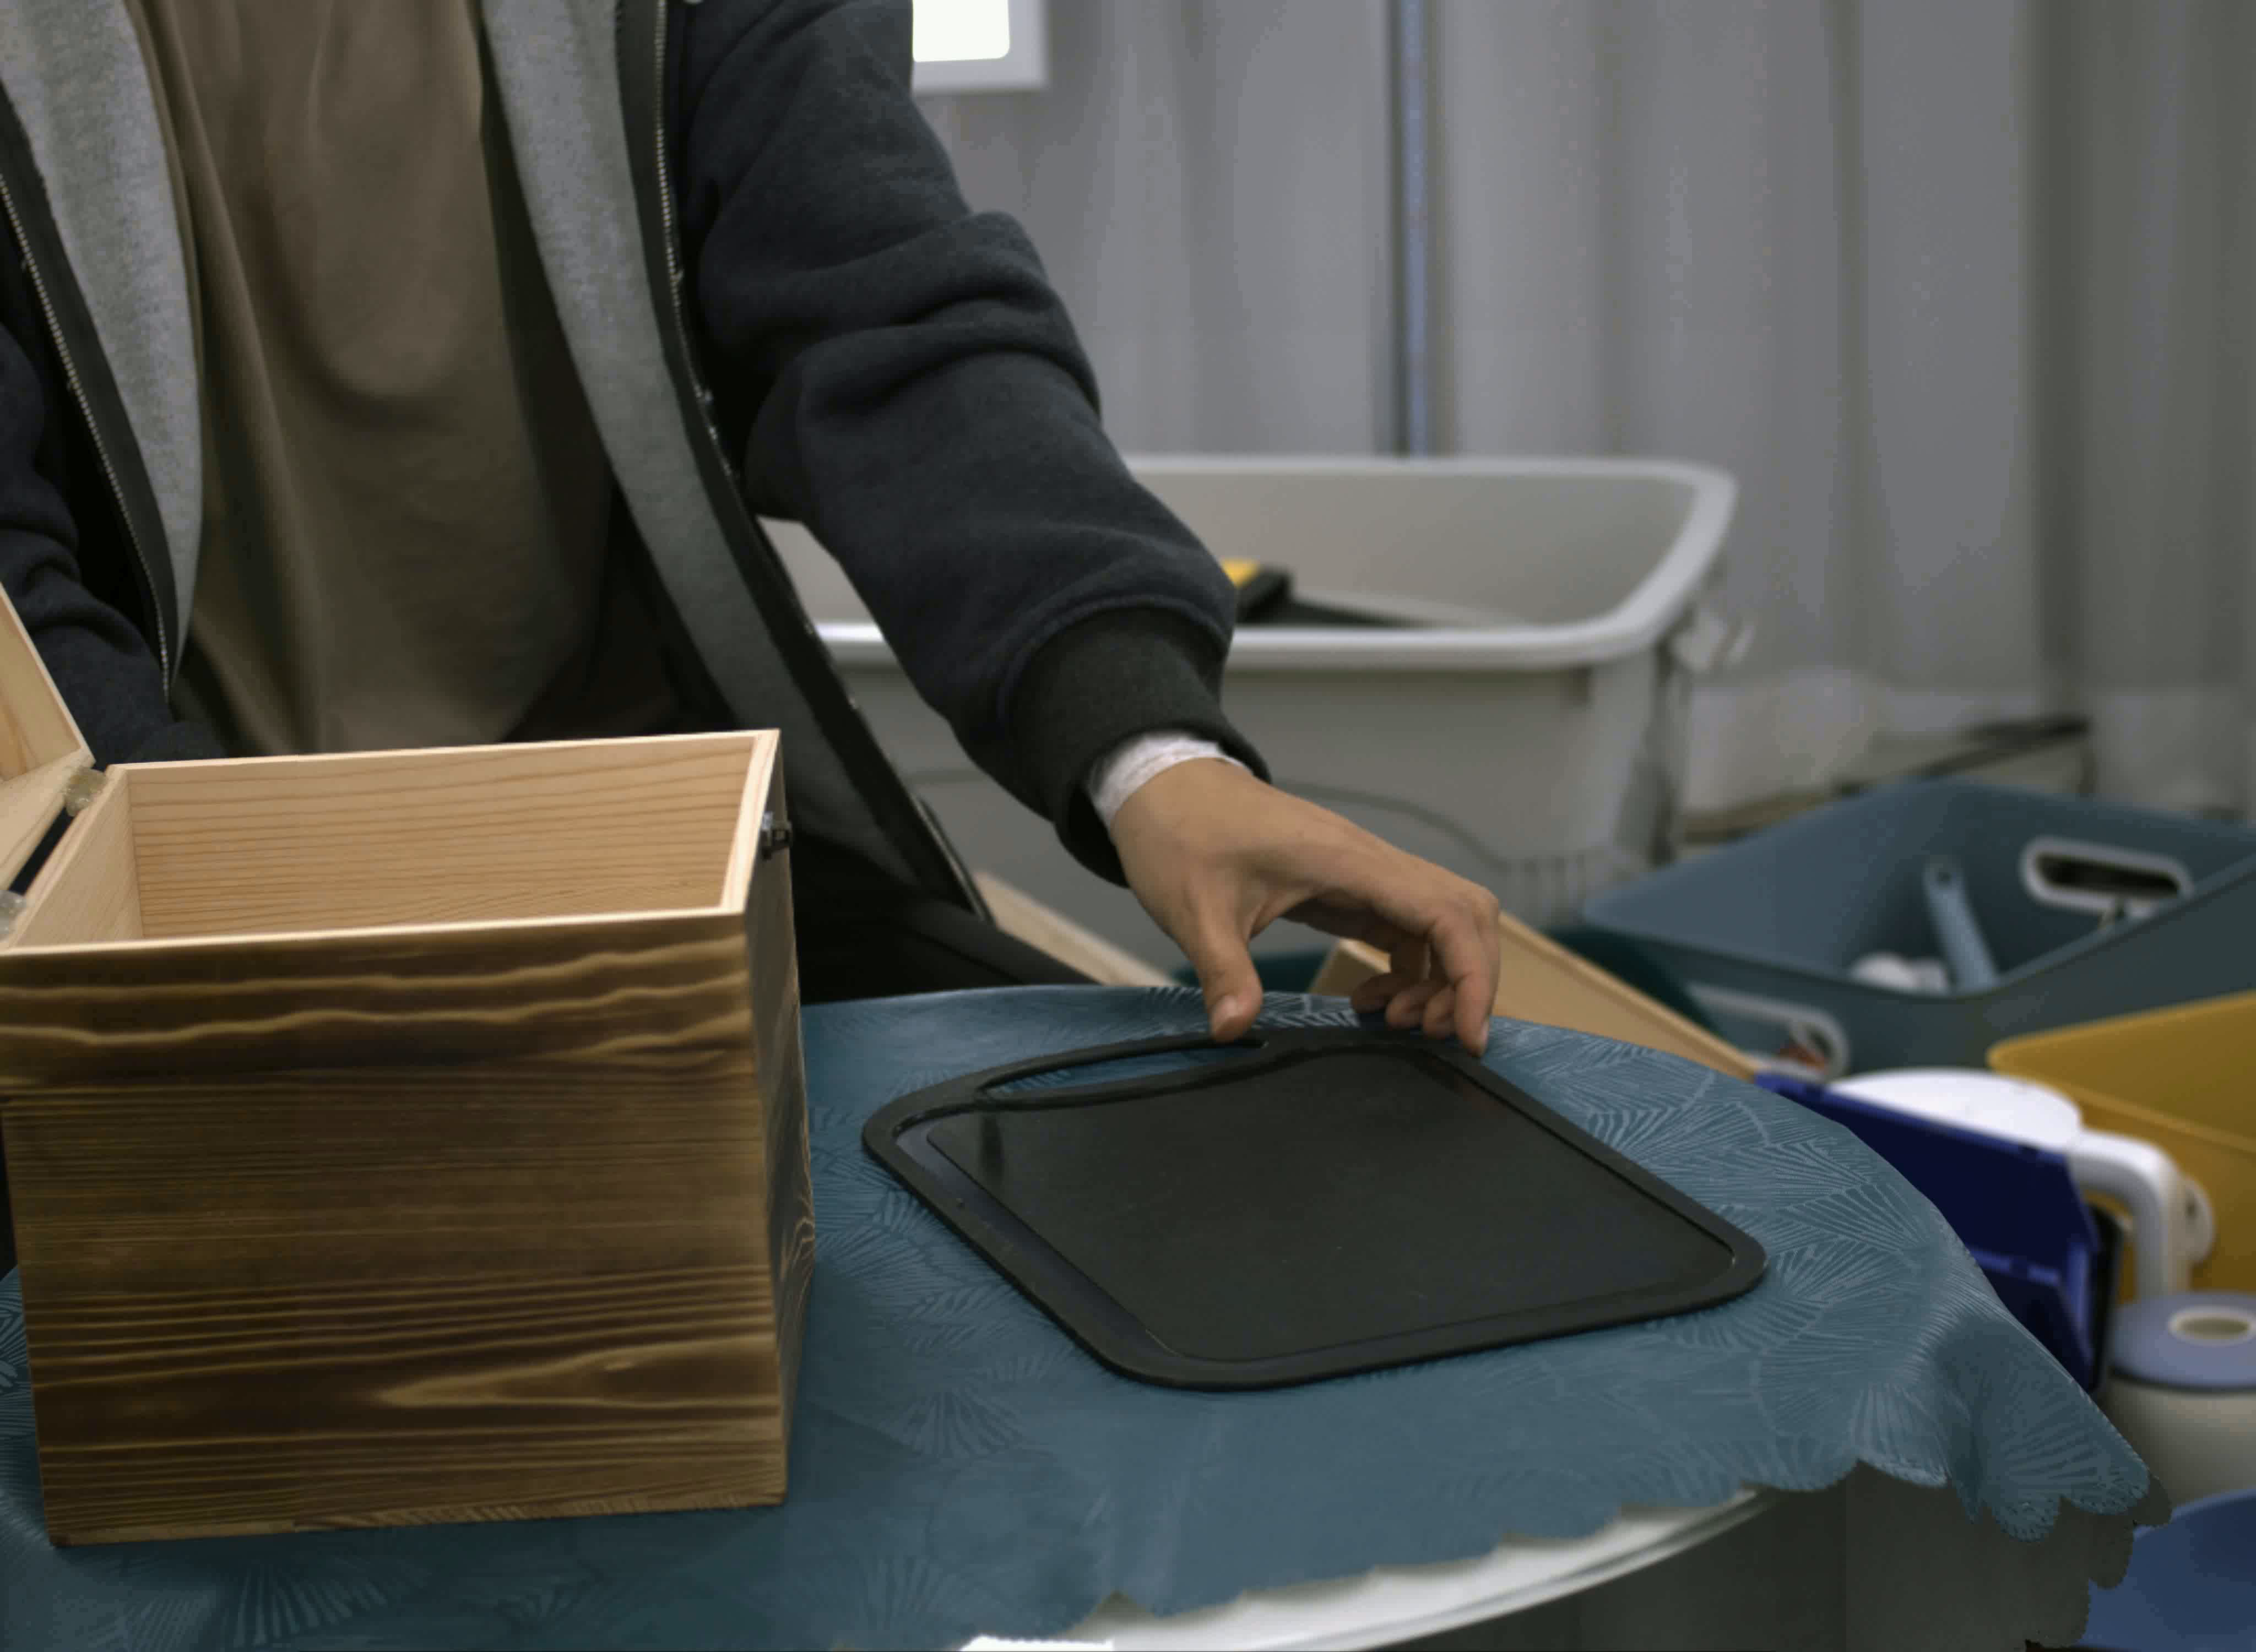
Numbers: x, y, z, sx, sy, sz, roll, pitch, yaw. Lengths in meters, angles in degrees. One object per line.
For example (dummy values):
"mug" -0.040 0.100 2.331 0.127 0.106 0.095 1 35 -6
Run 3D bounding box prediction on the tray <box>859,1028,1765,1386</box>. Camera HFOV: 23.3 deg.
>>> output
"tray" 0.046 0.112 1.706 0.210 0.010 0.328 -8 16 -19

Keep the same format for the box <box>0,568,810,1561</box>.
"box" -0.253 -0.005 1.526 0.321 0.374 0.210 -4 14 0
